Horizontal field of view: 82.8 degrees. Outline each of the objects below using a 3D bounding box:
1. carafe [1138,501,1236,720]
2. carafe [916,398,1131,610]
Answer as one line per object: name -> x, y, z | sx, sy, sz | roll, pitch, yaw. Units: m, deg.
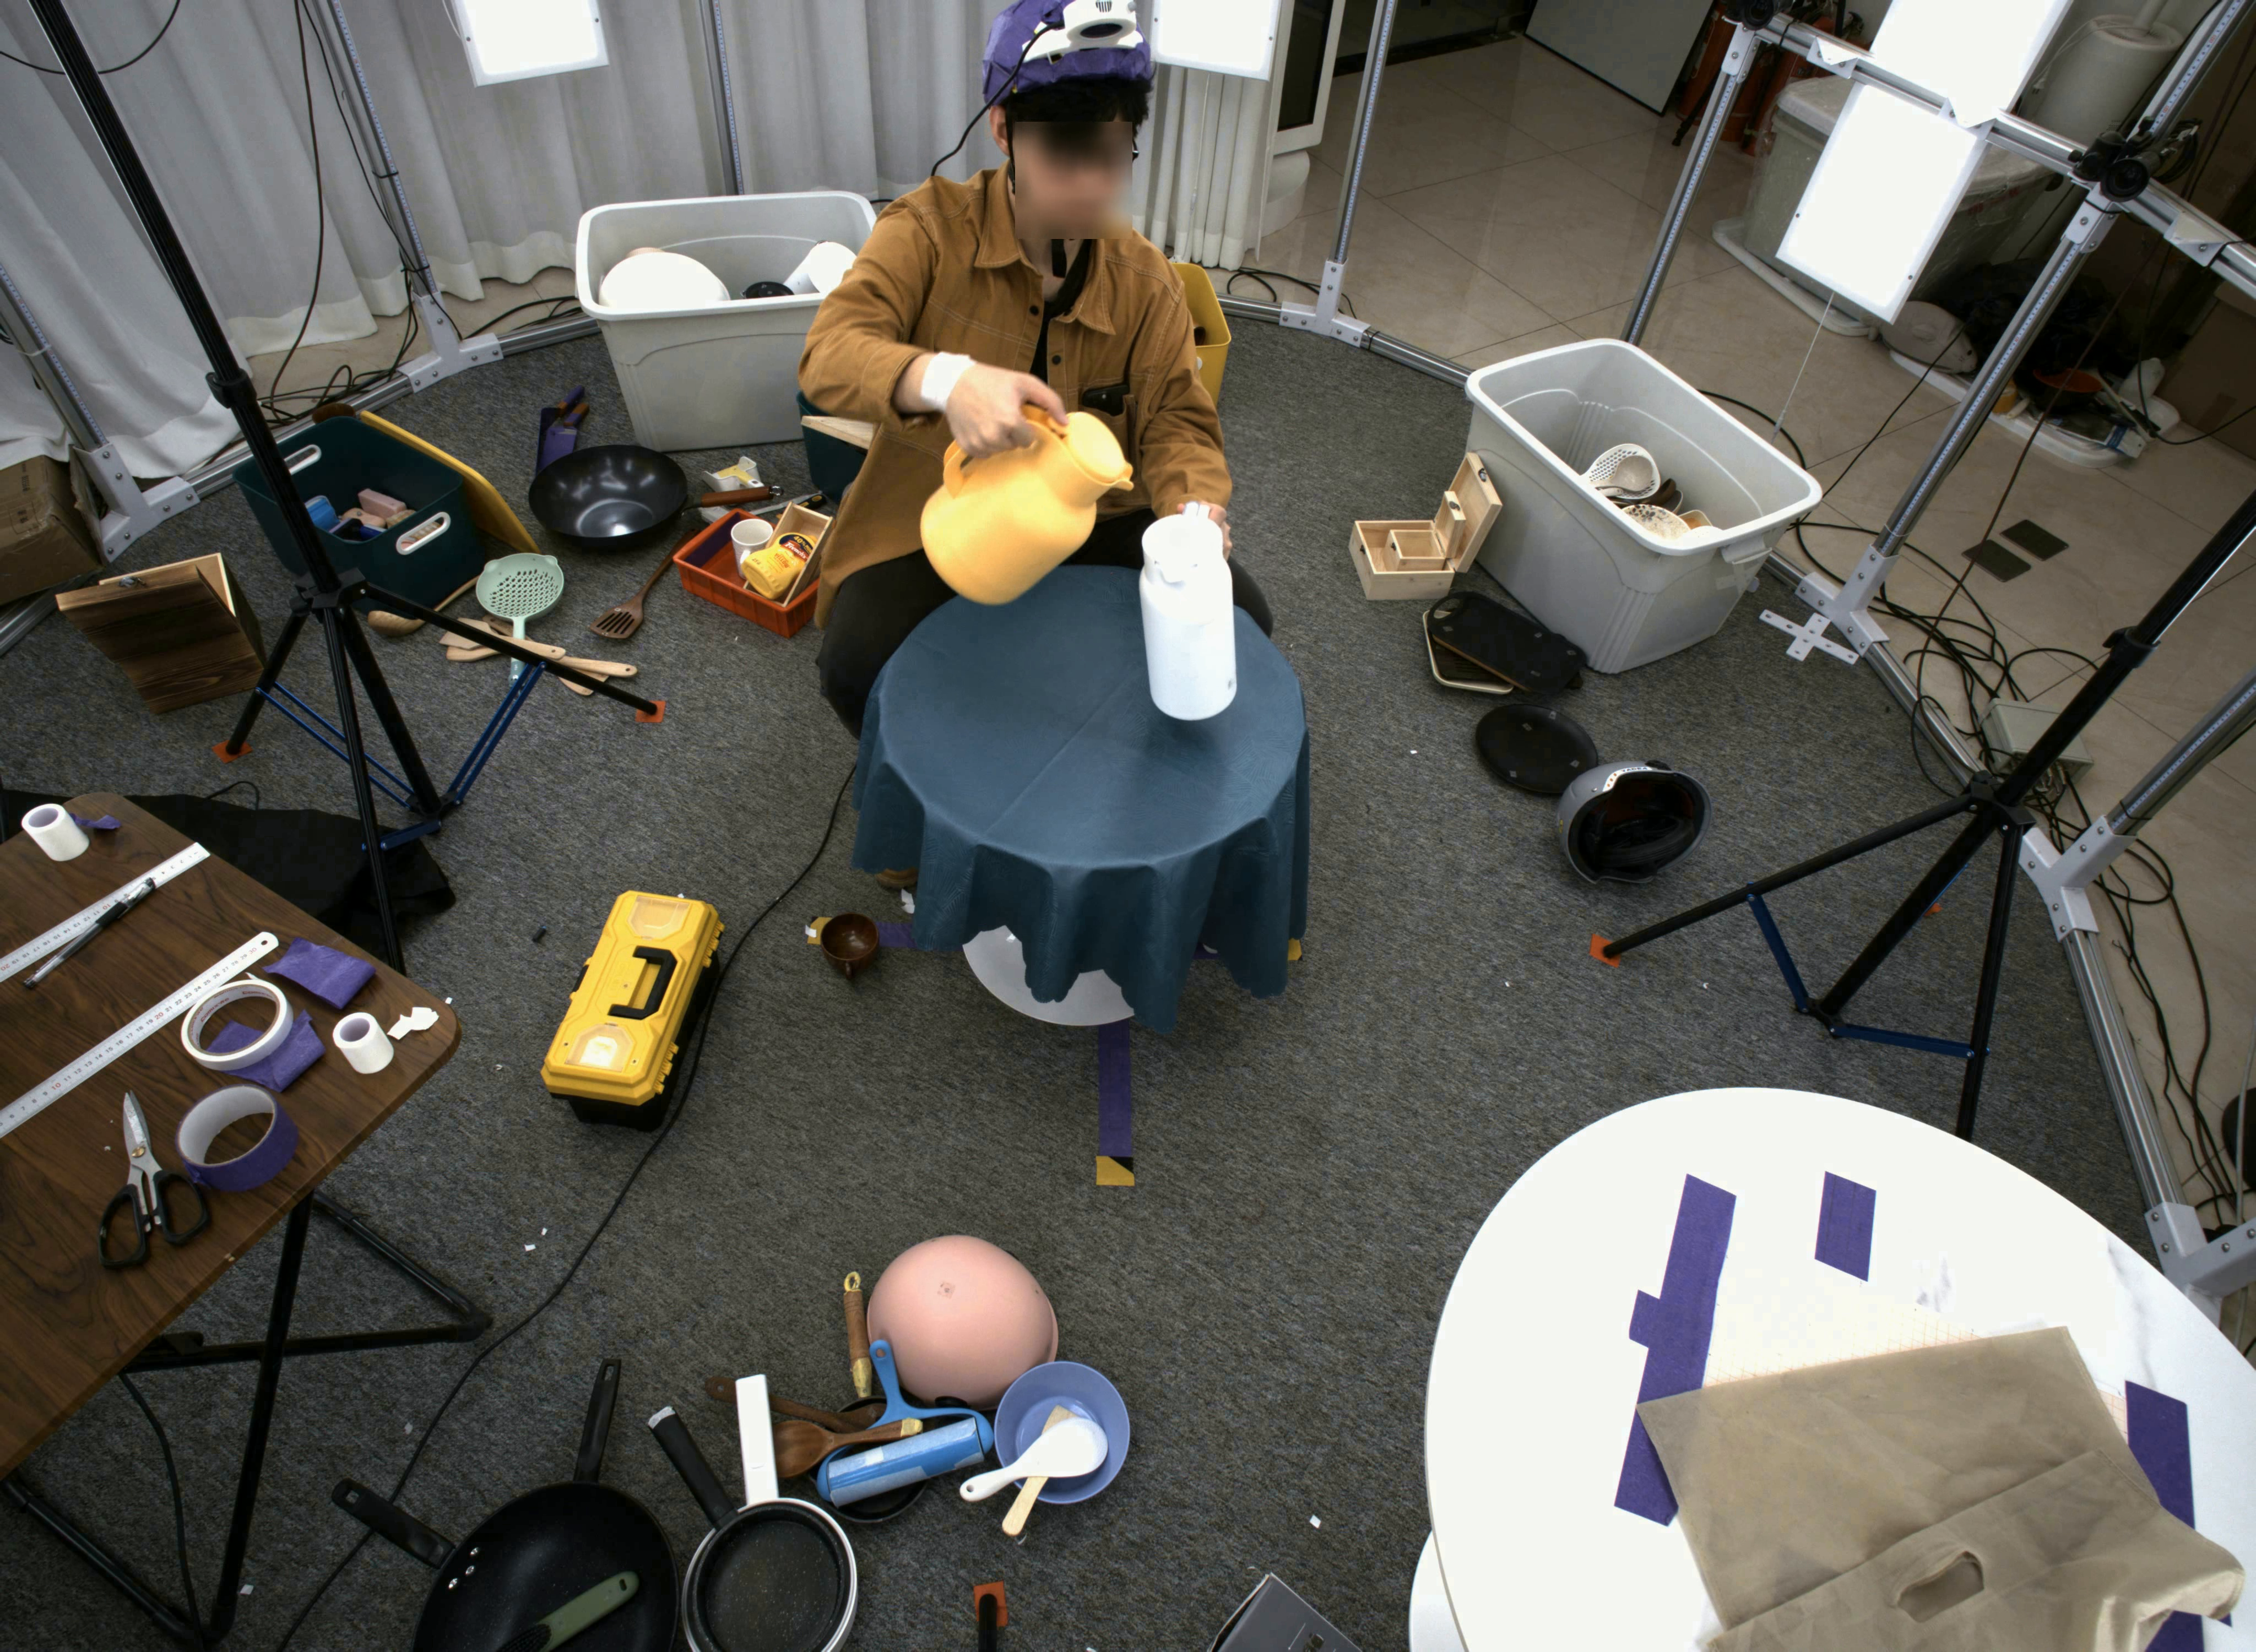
carafe -> 0.079, -0.279, 1.662 | 0.124, 0.262, 0.177 | 4, 50, 14
carafe -> -0.136, -0.388, 1.515 | 0.199, 0.258, 0.167 | 26, 45, -35
